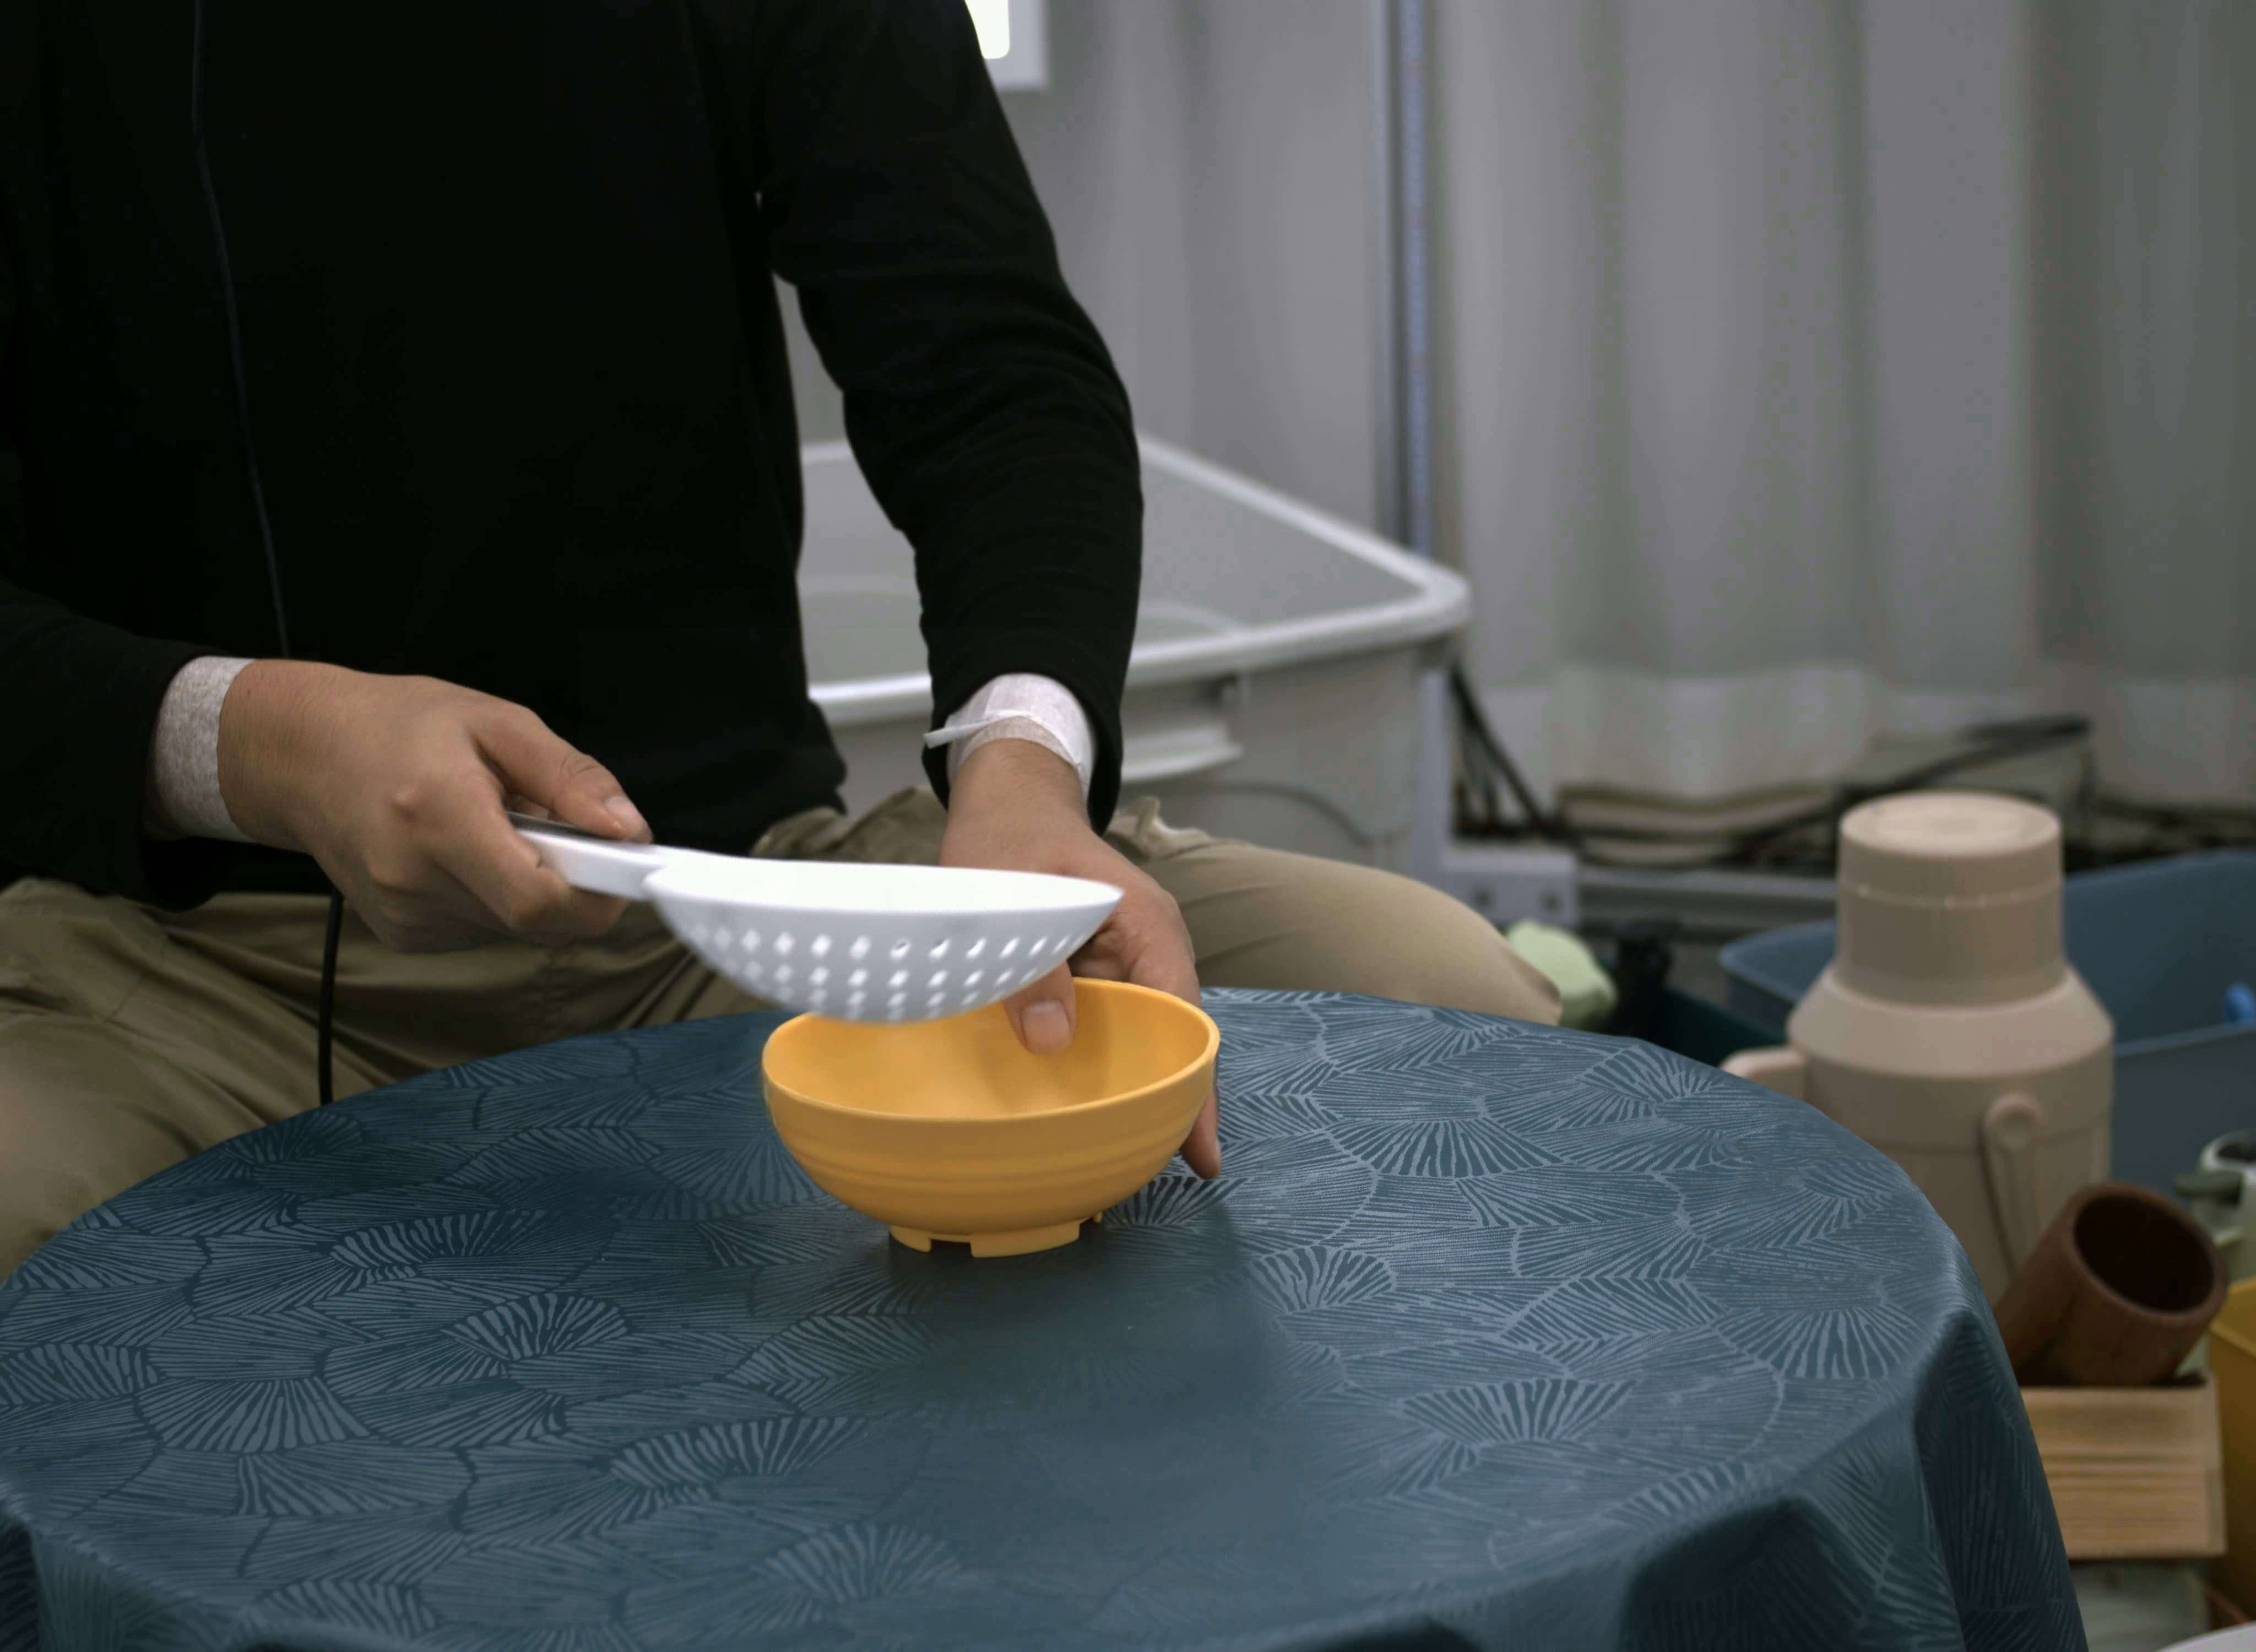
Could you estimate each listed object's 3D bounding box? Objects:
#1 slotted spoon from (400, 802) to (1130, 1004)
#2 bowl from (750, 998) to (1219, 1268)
[{"bbox_3d":[-0.129,0.012,1.650,0.135,0.046,0.352,0,8,-35],"label":"slotted spoon"},{"bbox_3d":[-0.043,0.099,1.686,0.145,0.060,0.146,-2,12,0],"label":"bowl"}]
